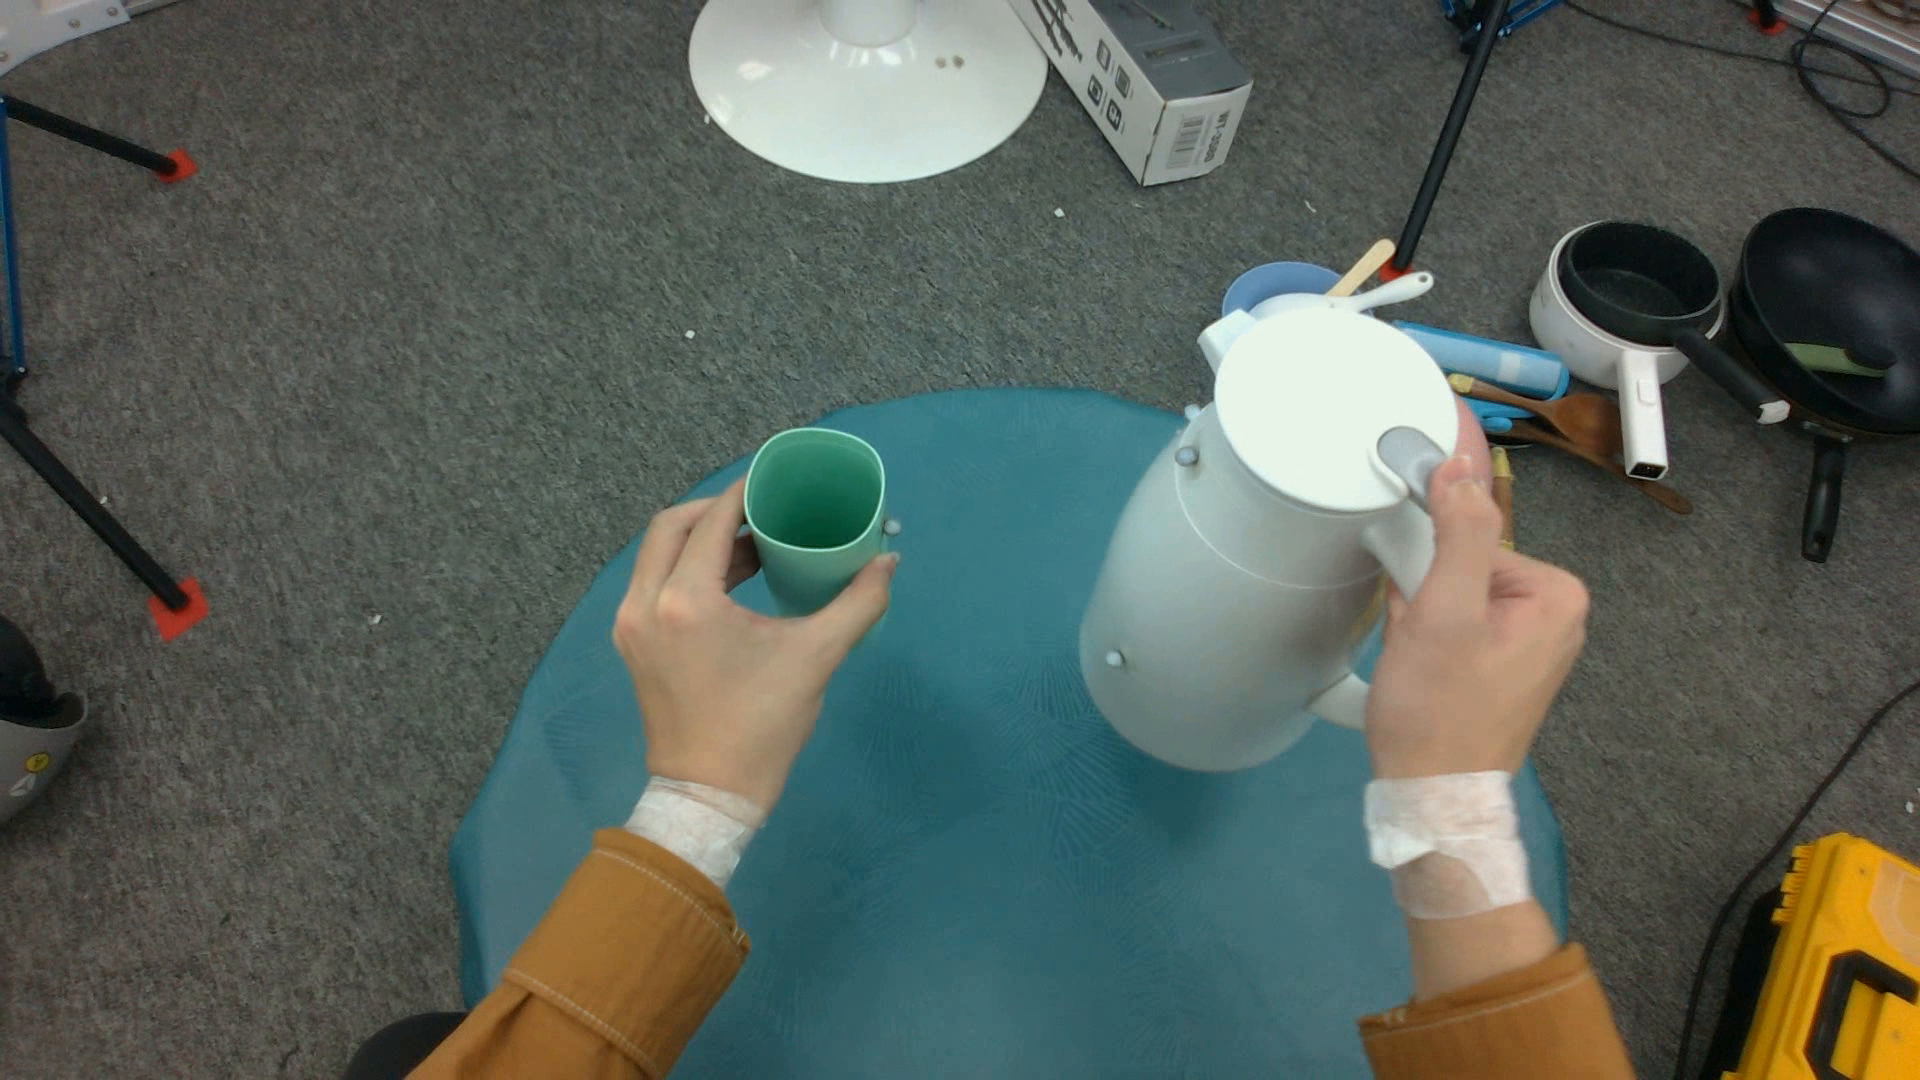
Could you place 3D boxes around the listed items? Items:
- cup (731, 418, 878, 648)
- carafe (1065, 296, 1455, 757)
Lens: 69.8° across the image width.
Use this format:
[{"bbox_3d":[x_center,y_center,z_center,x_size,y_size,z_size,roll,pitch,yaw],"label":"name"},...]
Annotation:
[{"bbox_3d":[-0.074,0.002,0.683,0.067,0.132,0.067,1,63,-1],"label":"cup"},{"bbox_3d":[0.142,0.010,0.623,0.133,0.247,0.168,-31,69,-19],"label":"carafe"}]
